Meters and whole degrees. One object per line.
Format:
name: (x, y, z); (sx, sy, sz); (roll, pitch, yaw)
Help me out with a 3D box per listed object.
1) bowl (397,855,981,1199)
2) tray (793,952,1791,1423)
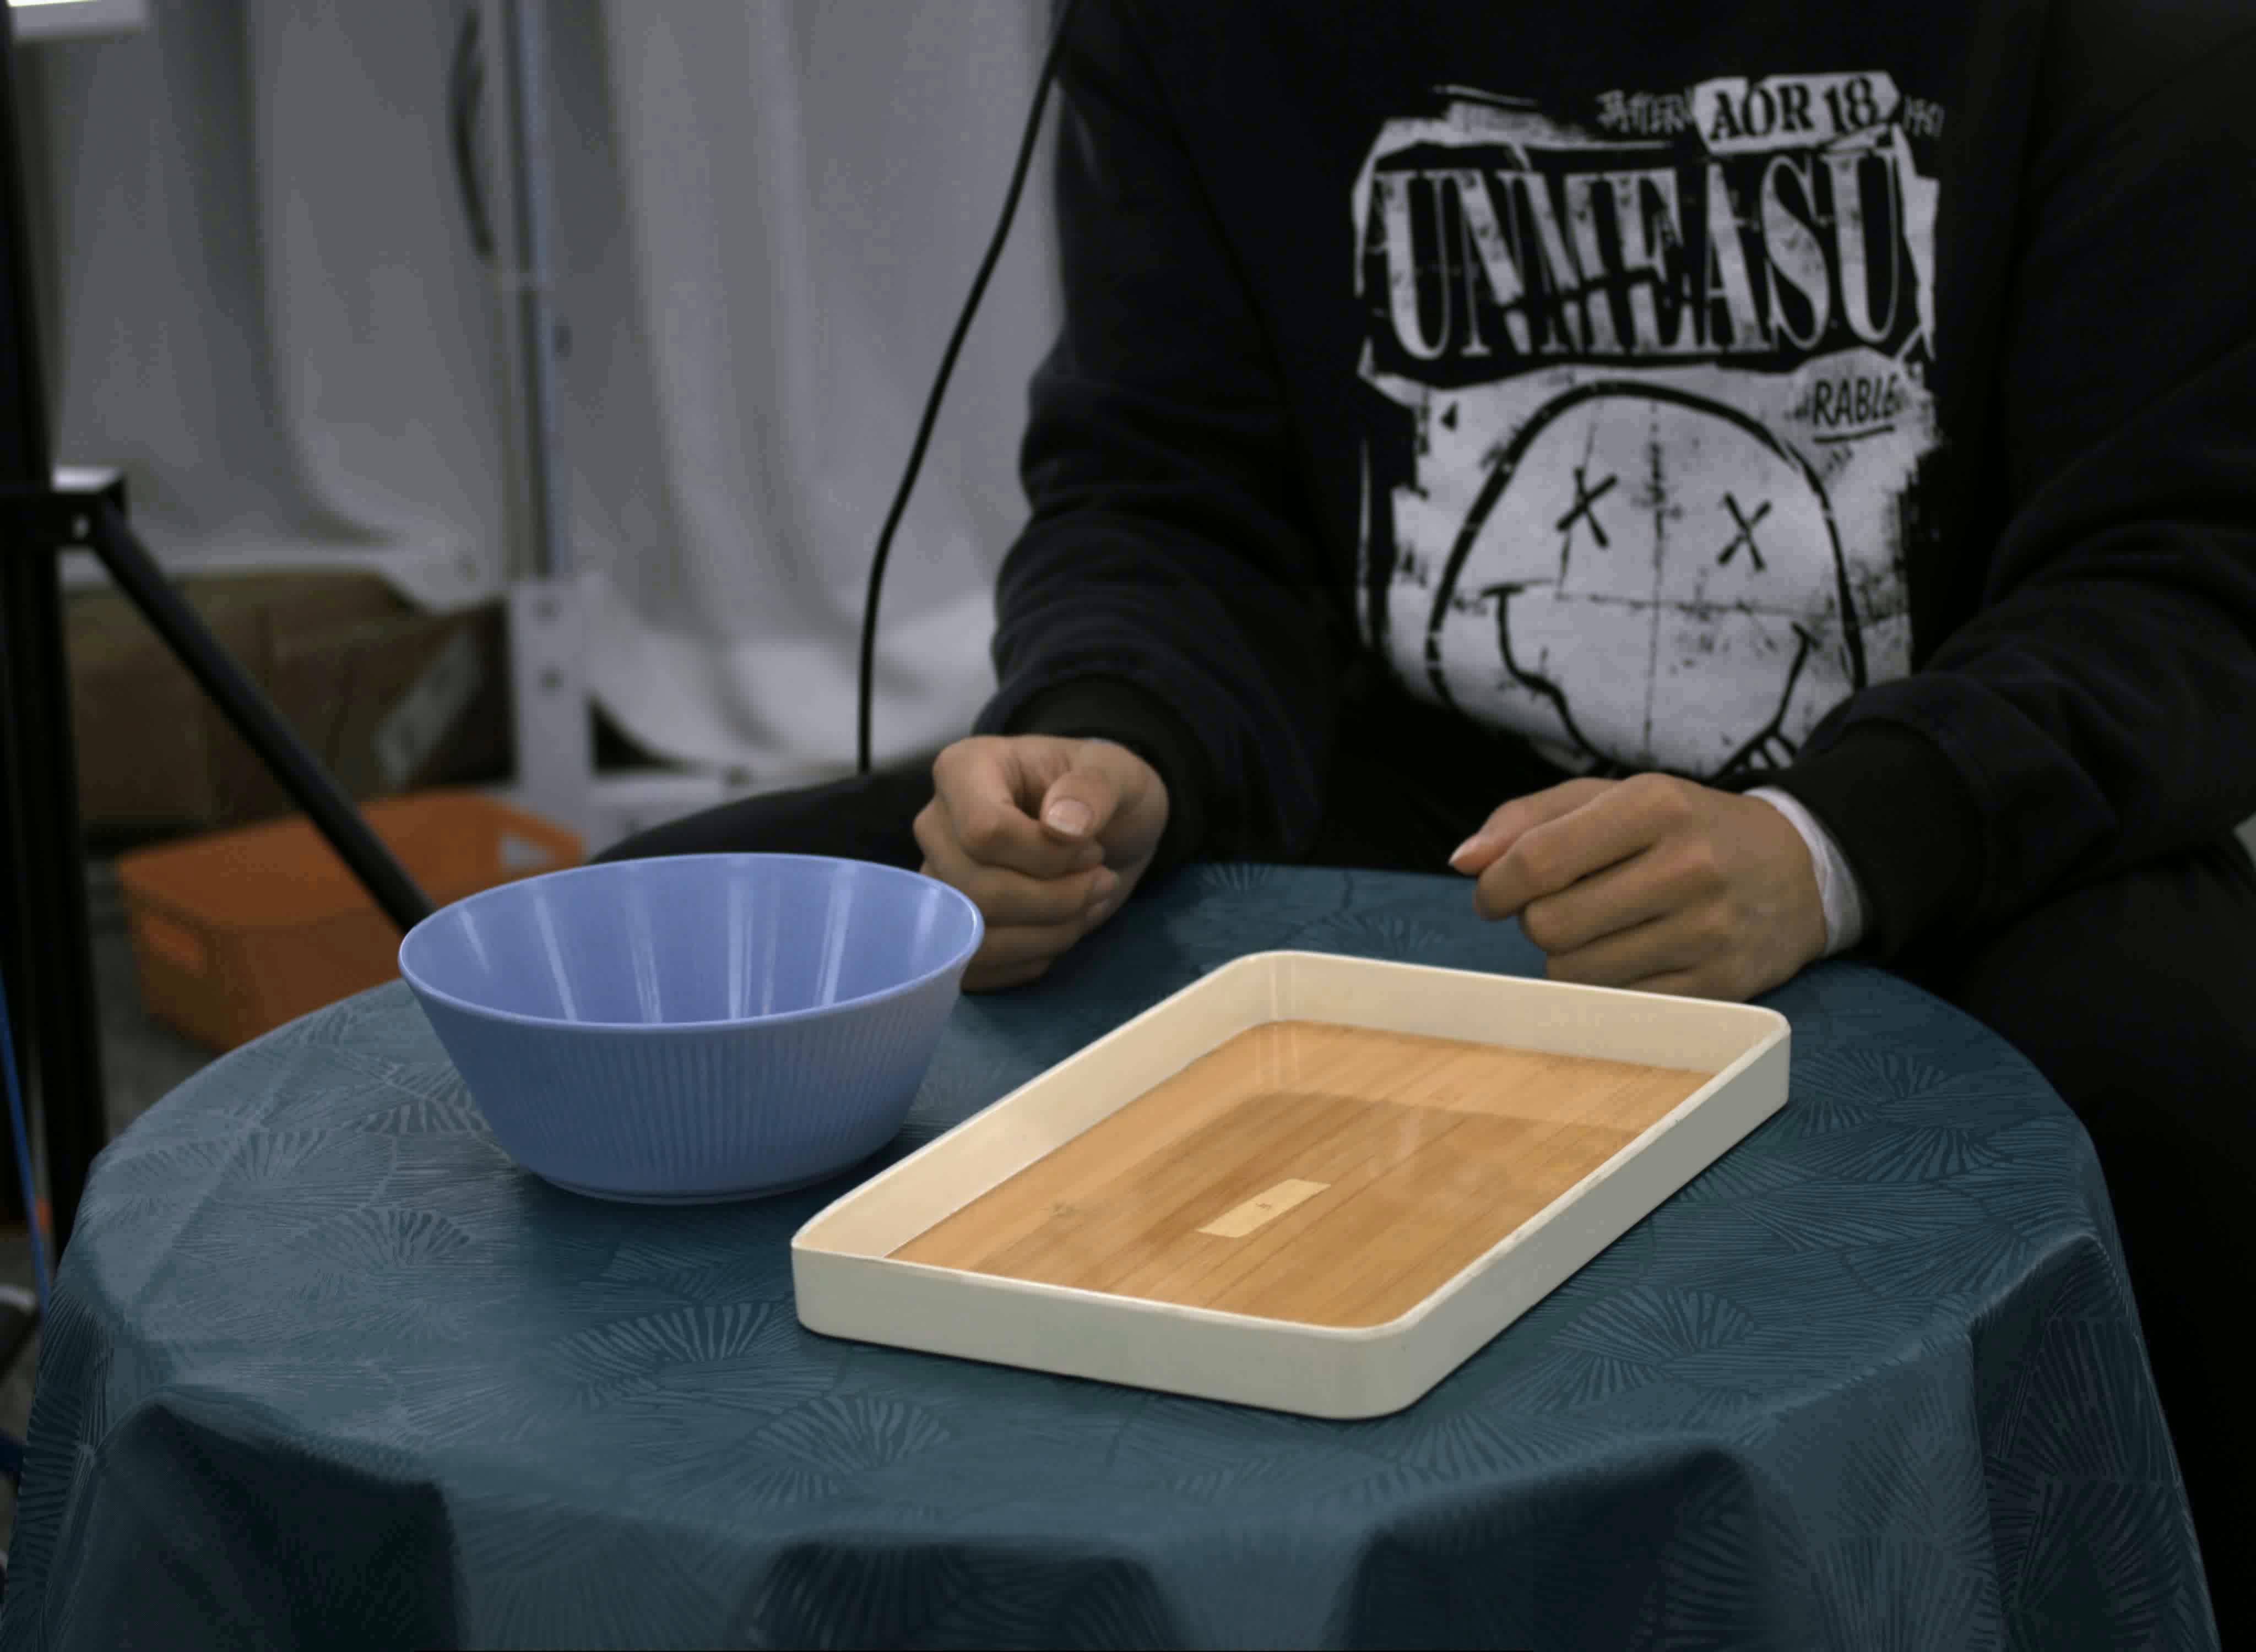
bowl: (-0.131, 0.063, 1.609); (0.175, 0.070, 0.177); (-2, 16, -1)
tray: (0.055, 0.099, 1.534); (0.195, 0.027, 0.295); (6, 18, 29)
